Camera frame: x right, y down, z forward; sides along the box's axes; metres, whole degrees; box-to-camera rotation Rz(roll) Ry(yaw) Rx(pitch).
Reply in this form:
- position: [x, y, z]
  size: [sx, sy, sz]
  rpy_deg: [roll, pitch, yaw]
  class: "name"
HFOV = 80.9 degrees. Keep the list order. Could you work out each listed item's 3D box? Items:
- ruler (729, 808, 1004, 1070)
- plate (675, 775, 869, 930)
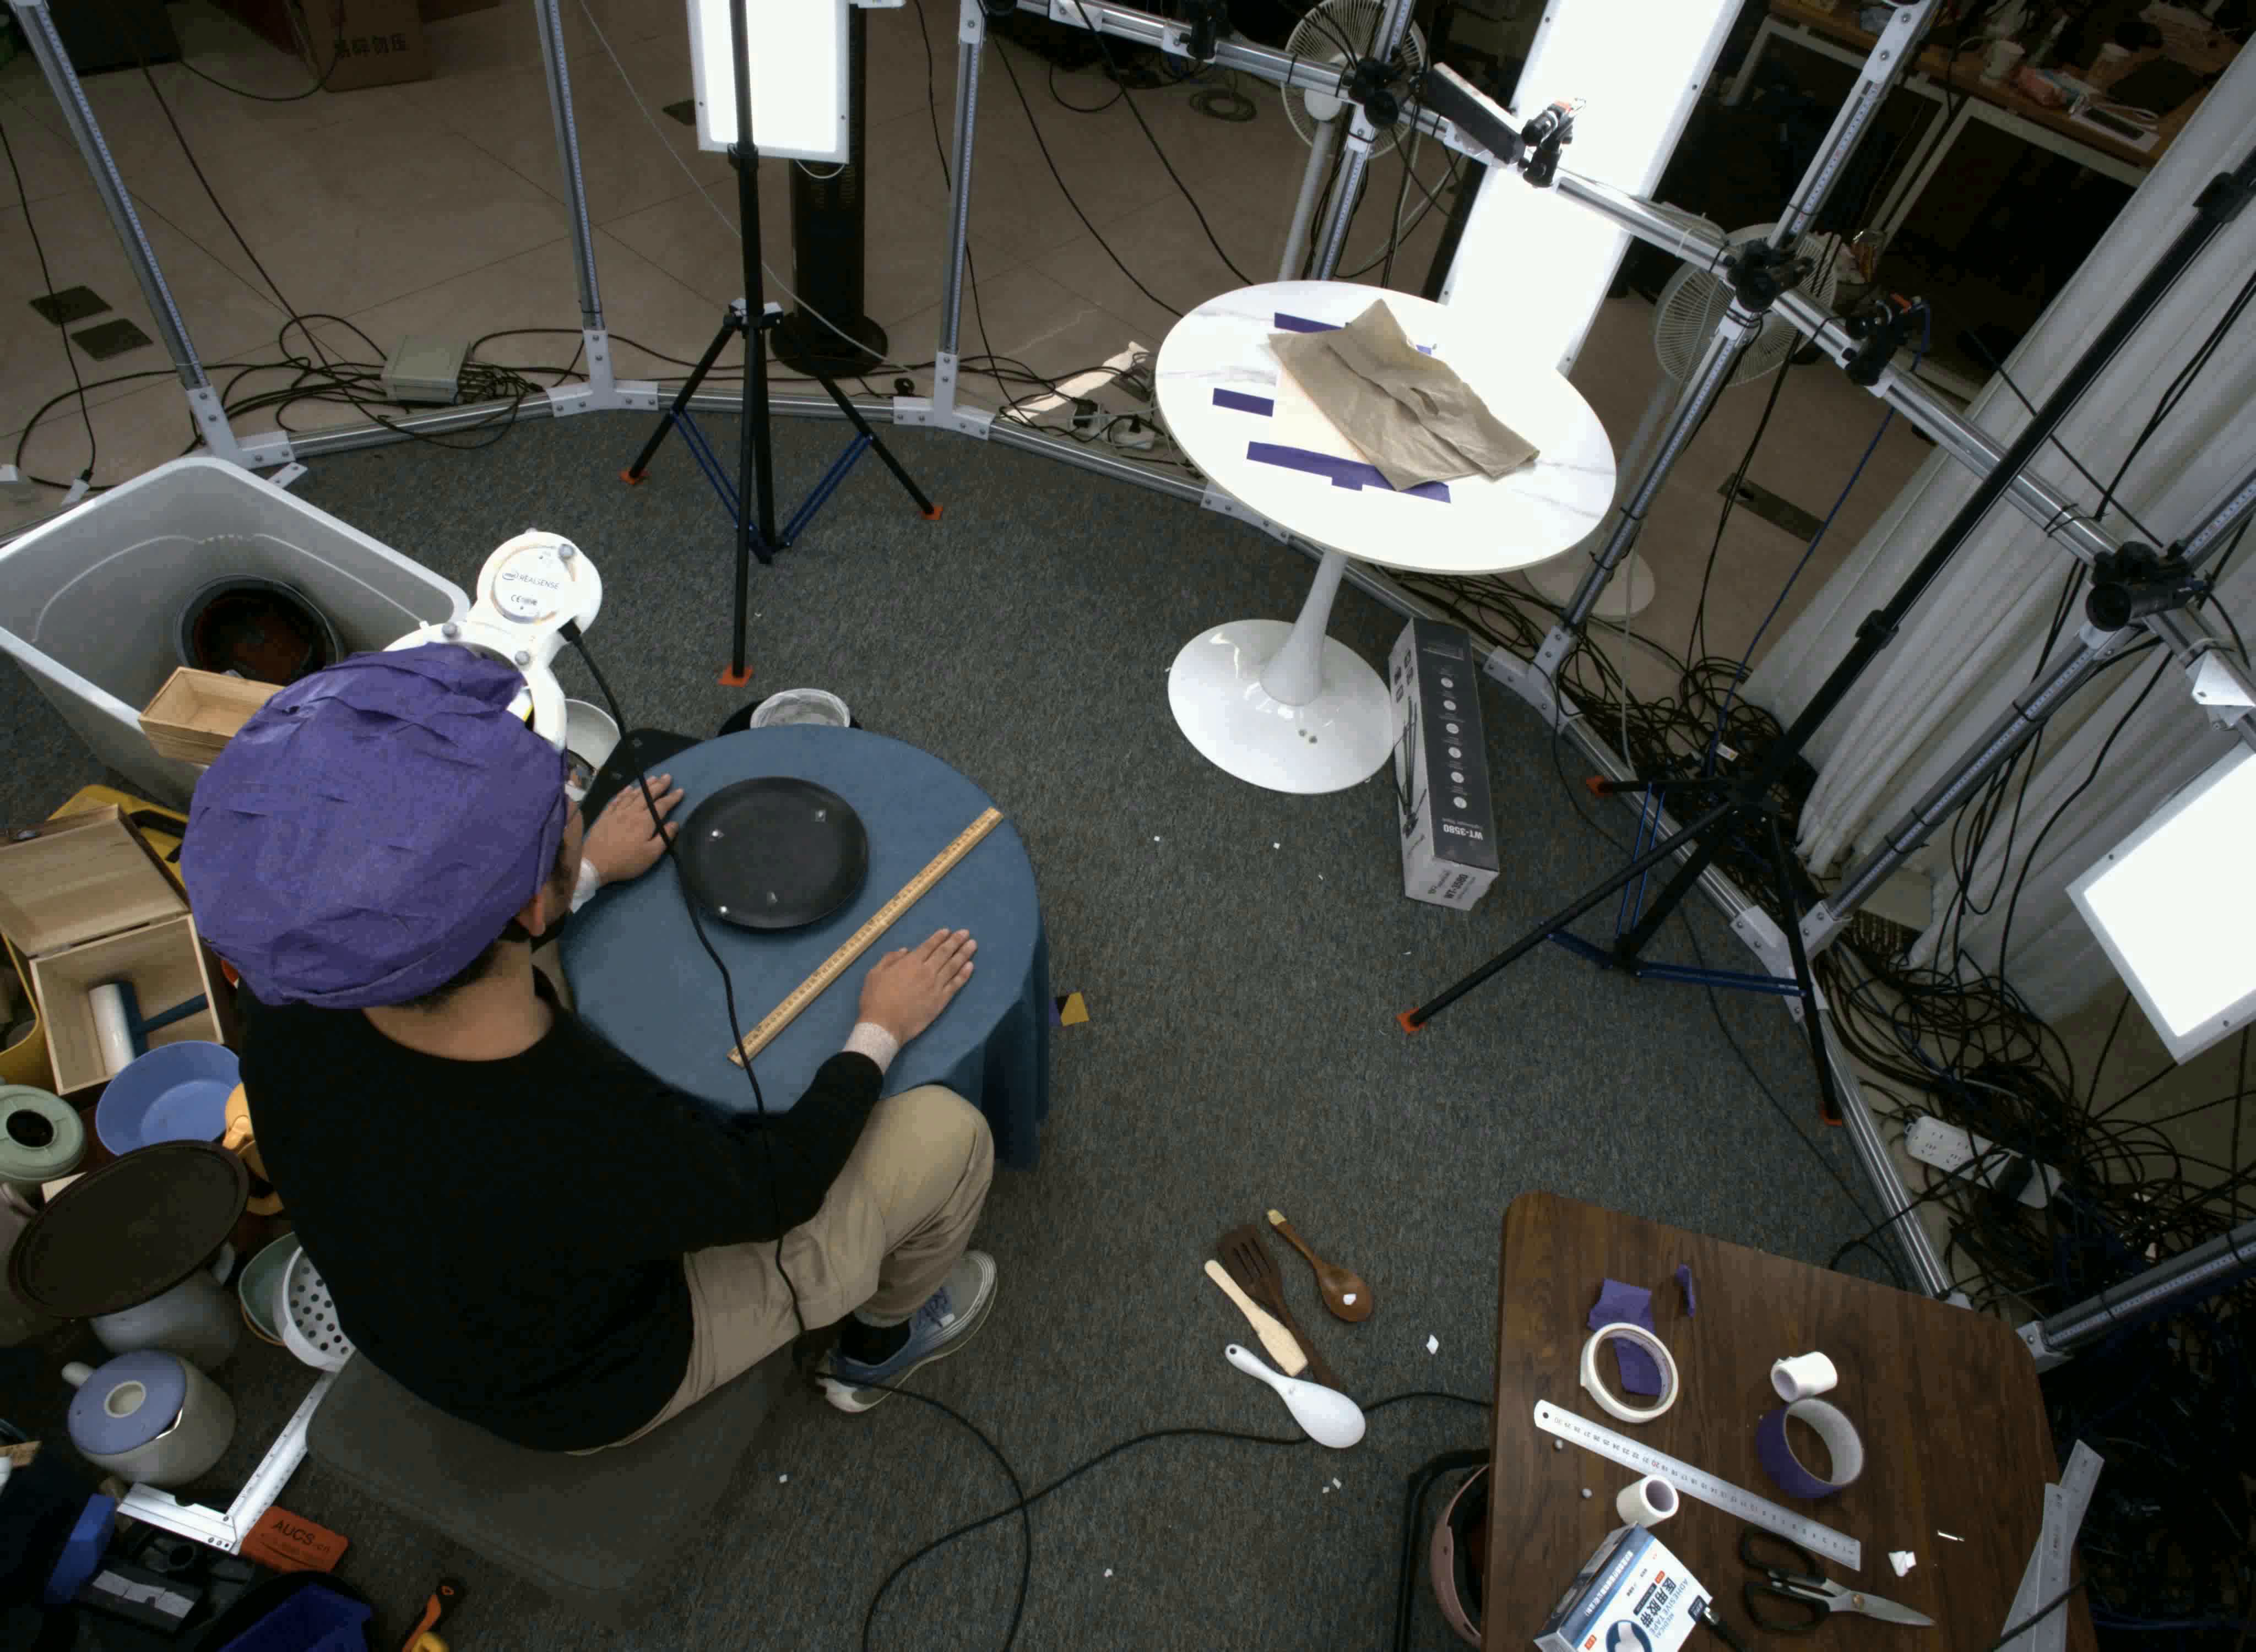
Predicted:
- position: [-0.319, 0.126, 1.649]
  size: [0.026, 0.006, 0.500]
  rpy_deg: [34, 53, 13]
  class: "ruler"
- position: [-0.458, 0.034, 1.669]
  size: [0.244, 0.024, 0.240]
  rpy_deg: [8, 53, -9]
  class: "plate"
